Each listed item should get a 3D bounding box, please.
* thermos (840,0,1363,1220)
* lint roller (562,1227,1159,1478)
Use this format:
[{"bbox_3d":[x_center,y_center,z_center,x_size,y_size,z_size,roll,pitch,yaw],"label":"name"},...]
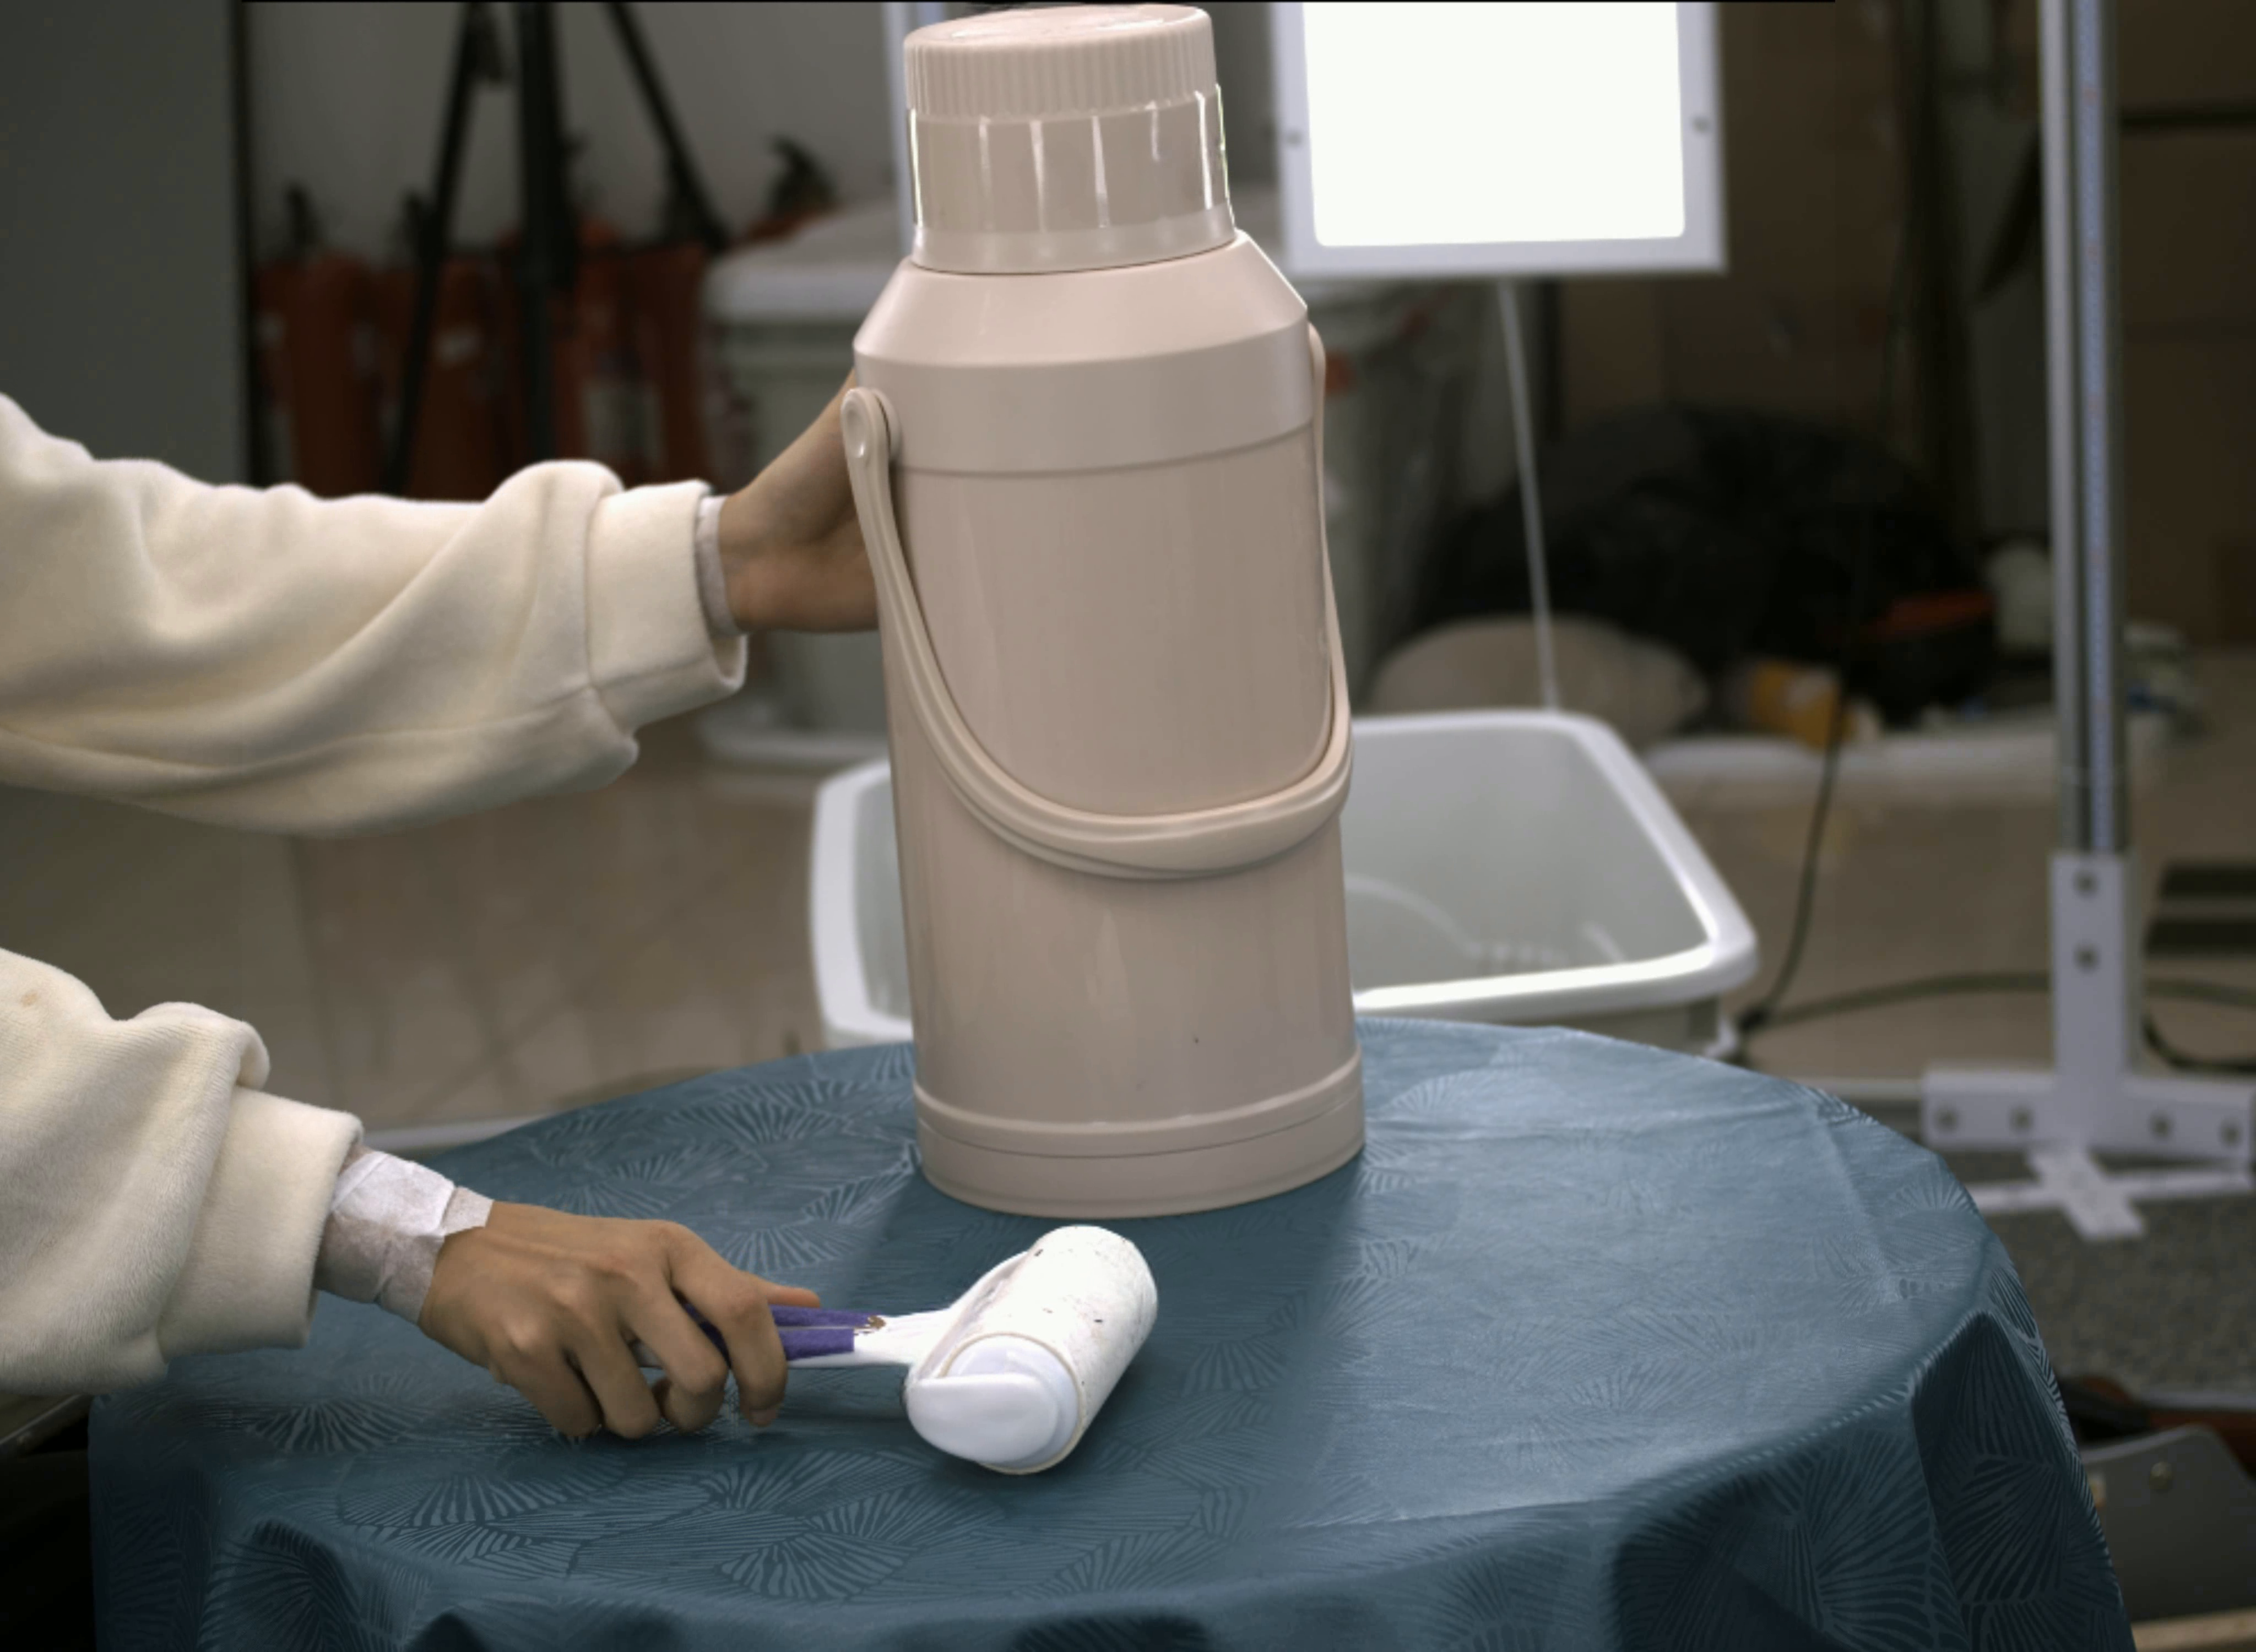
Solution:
[{"bbox_3d":[-0.014,-0.079,1.908,0.172,0.408,0.210,-12,15,-25],"label":"thermos"},{"bbox_3d":[-0.086,0.150,1.696,0.182,0.050,0.131,10,18,15],"label":"lint roller"}]
